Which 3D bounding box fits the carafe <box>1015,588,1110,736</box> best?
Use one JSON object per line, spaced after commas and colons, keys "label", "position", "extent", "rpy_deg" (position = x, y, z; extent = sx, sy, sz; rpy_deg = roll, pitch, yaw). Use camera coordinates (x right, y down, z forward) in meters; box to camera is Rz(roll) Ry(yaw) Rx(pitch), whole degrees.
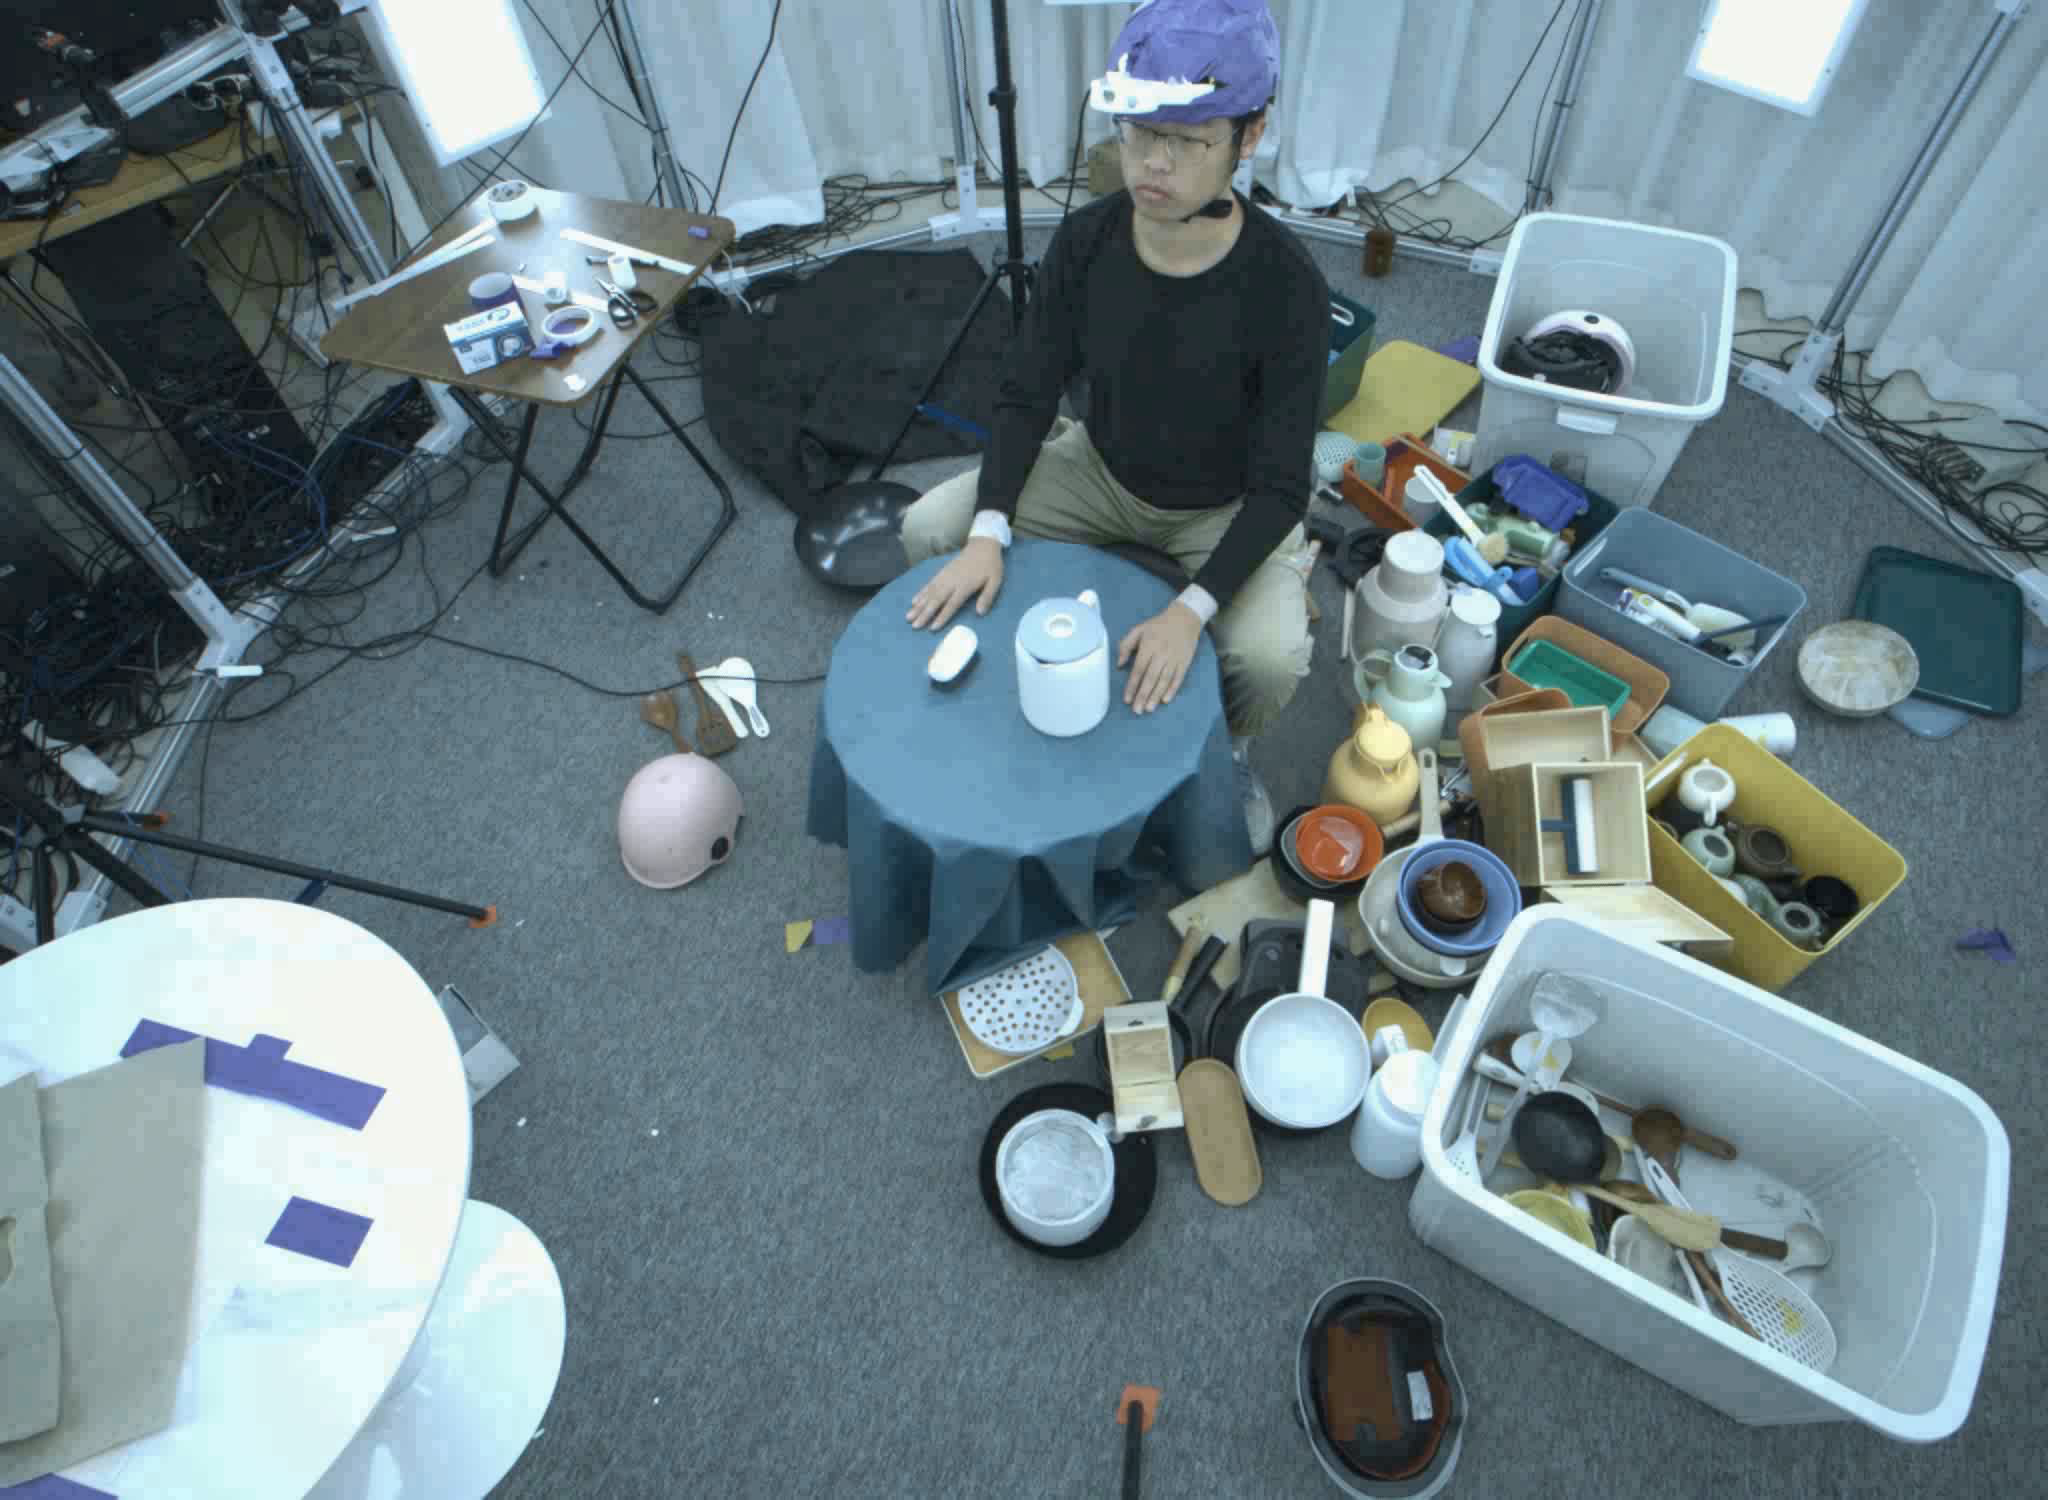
{"label": "carafe", "position": [0.066, -0.137, 1.777], "extent": [0.131, 0.184, 0.191], "rpy_deg": [18, 56, 15]}

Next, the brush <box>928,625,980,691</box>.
{"label": "brush", "position": [-0.108, -0.146, 1.849], "extent": [0.049, 0.073, 0.099], "rpy_deg": [26, 60, 20]}
